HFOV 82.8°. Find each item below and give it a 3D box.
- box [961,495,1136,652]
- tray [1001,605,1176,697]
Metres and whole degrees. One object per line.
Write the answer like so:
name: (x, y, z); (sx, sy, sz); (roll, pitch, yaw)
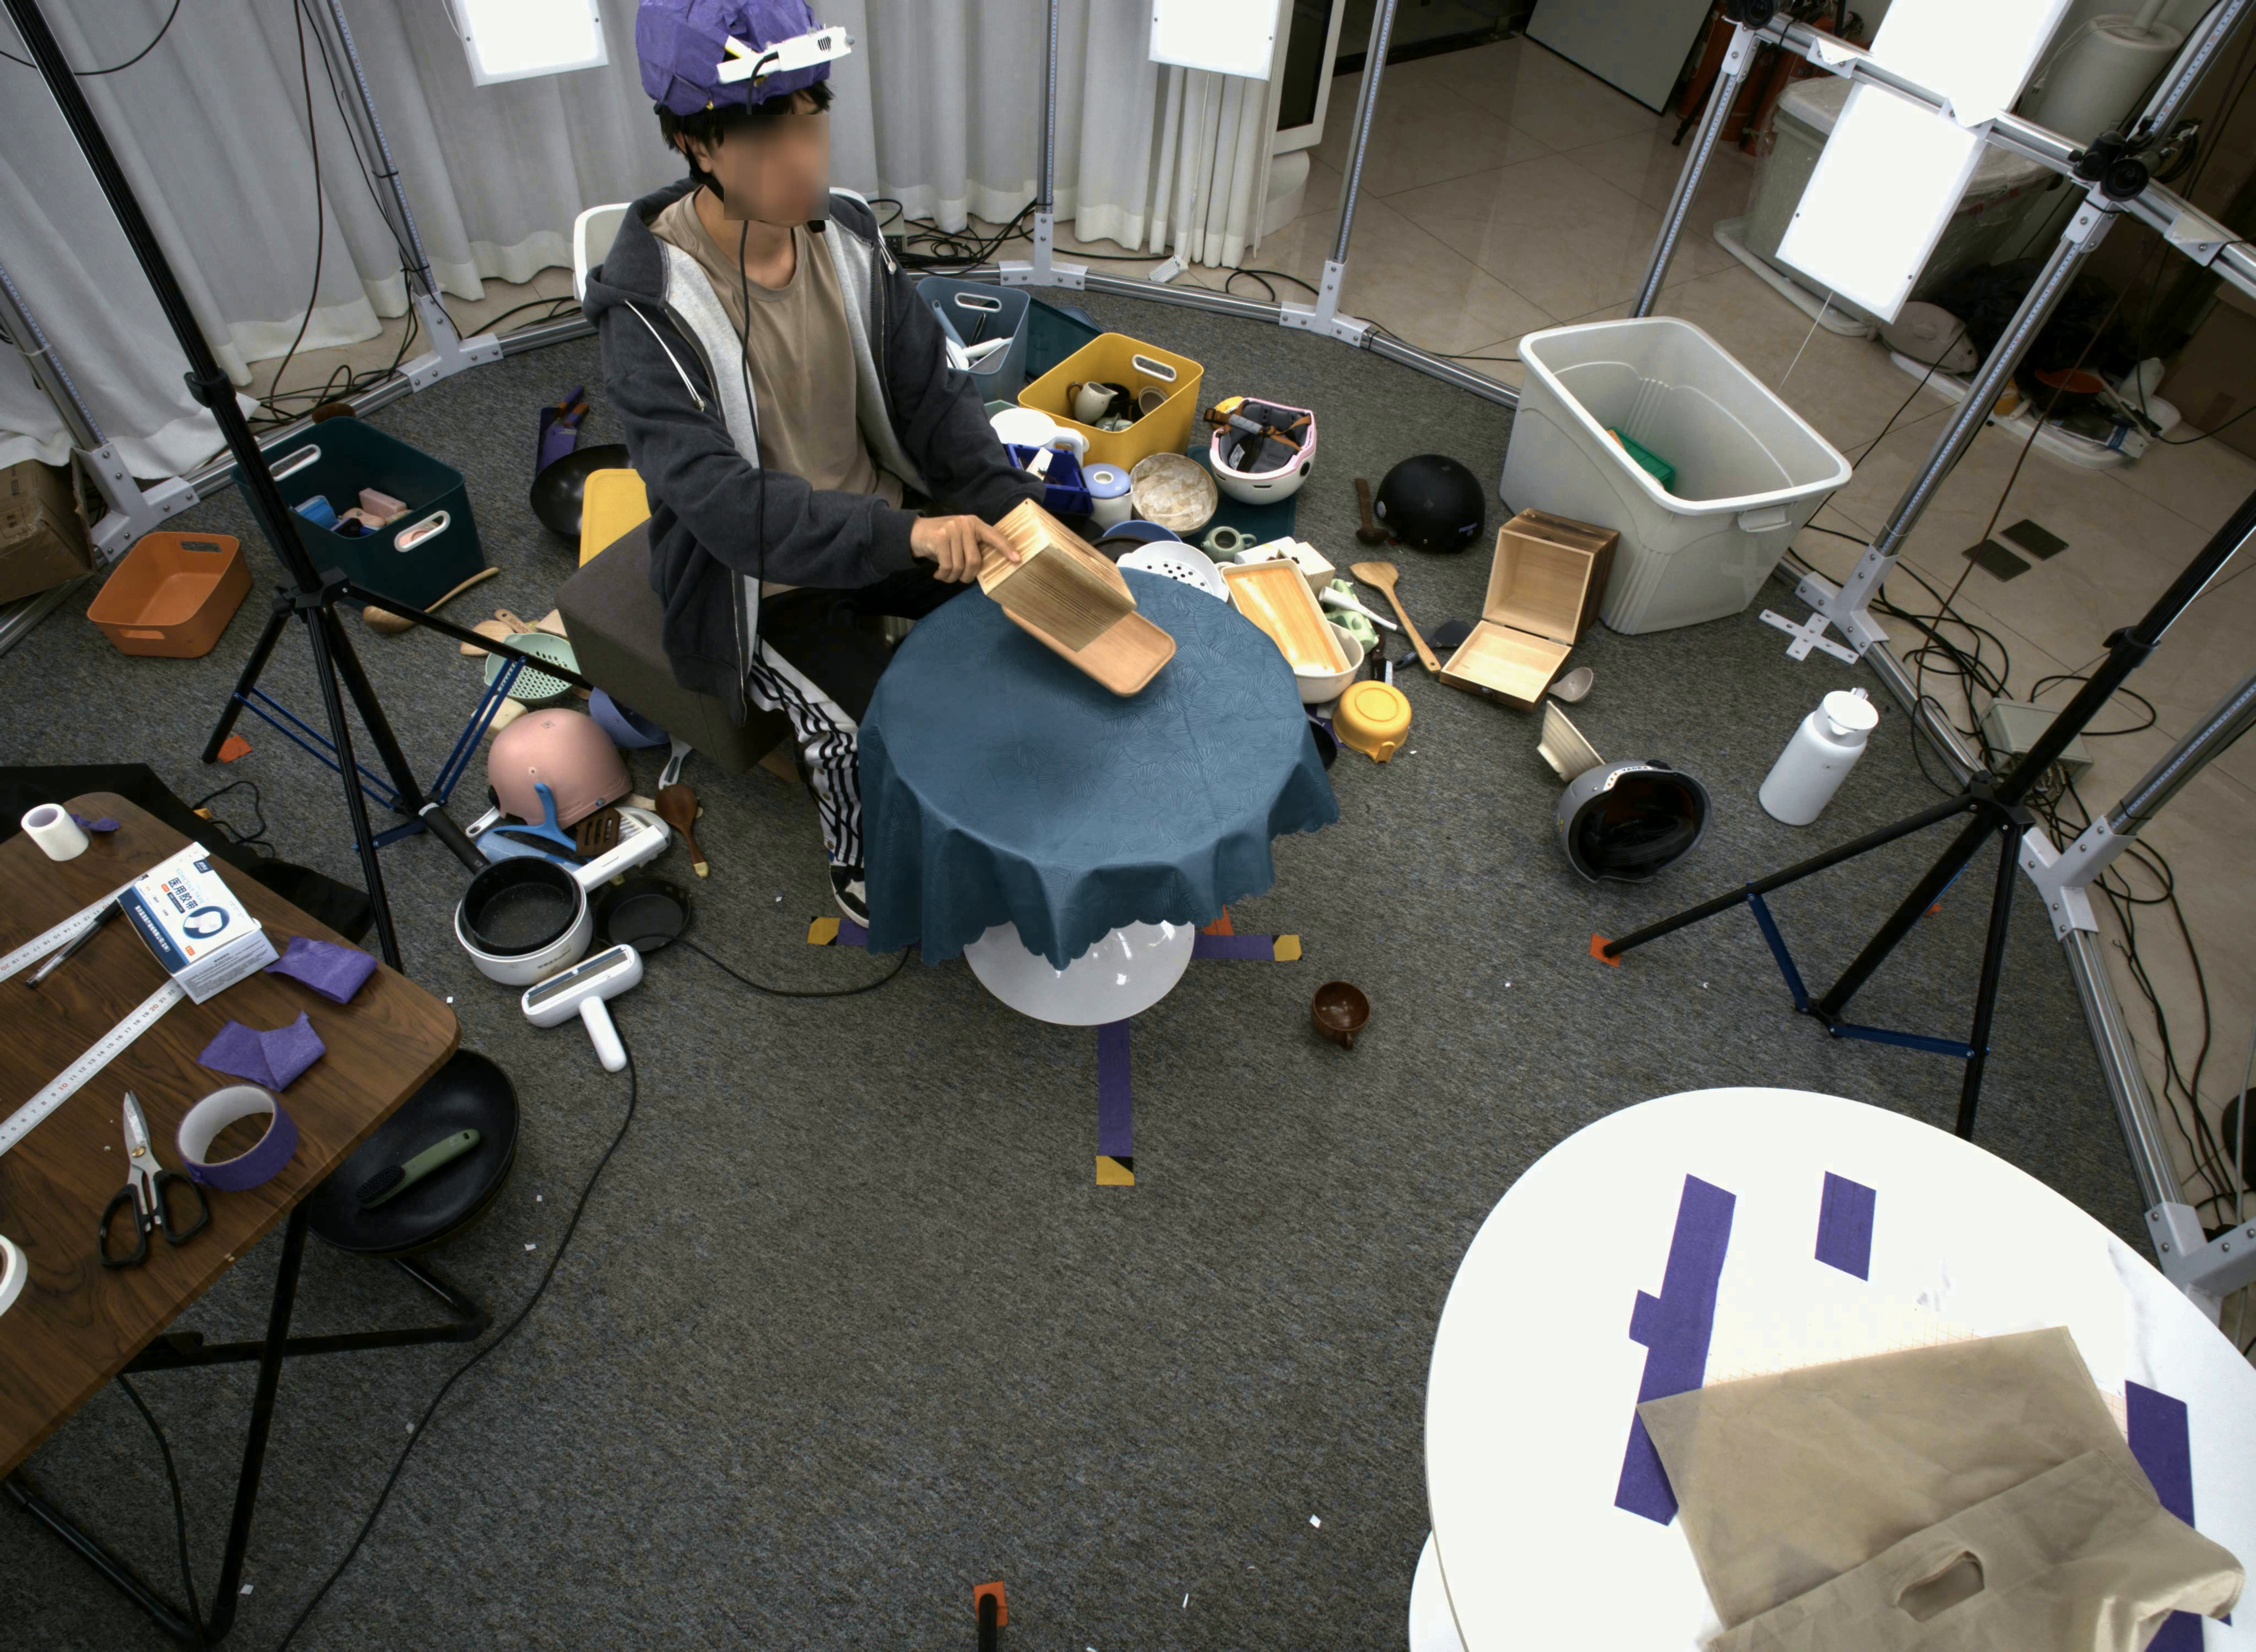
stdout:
box: (-0.097, -0.316, 1.640); (0.107, 0.208, 0.082); (-35, 61, 19)
tray: (-0.058, -0.285, 1.845); (0.253, 0.022, 0.132); (36, 62, 17)
